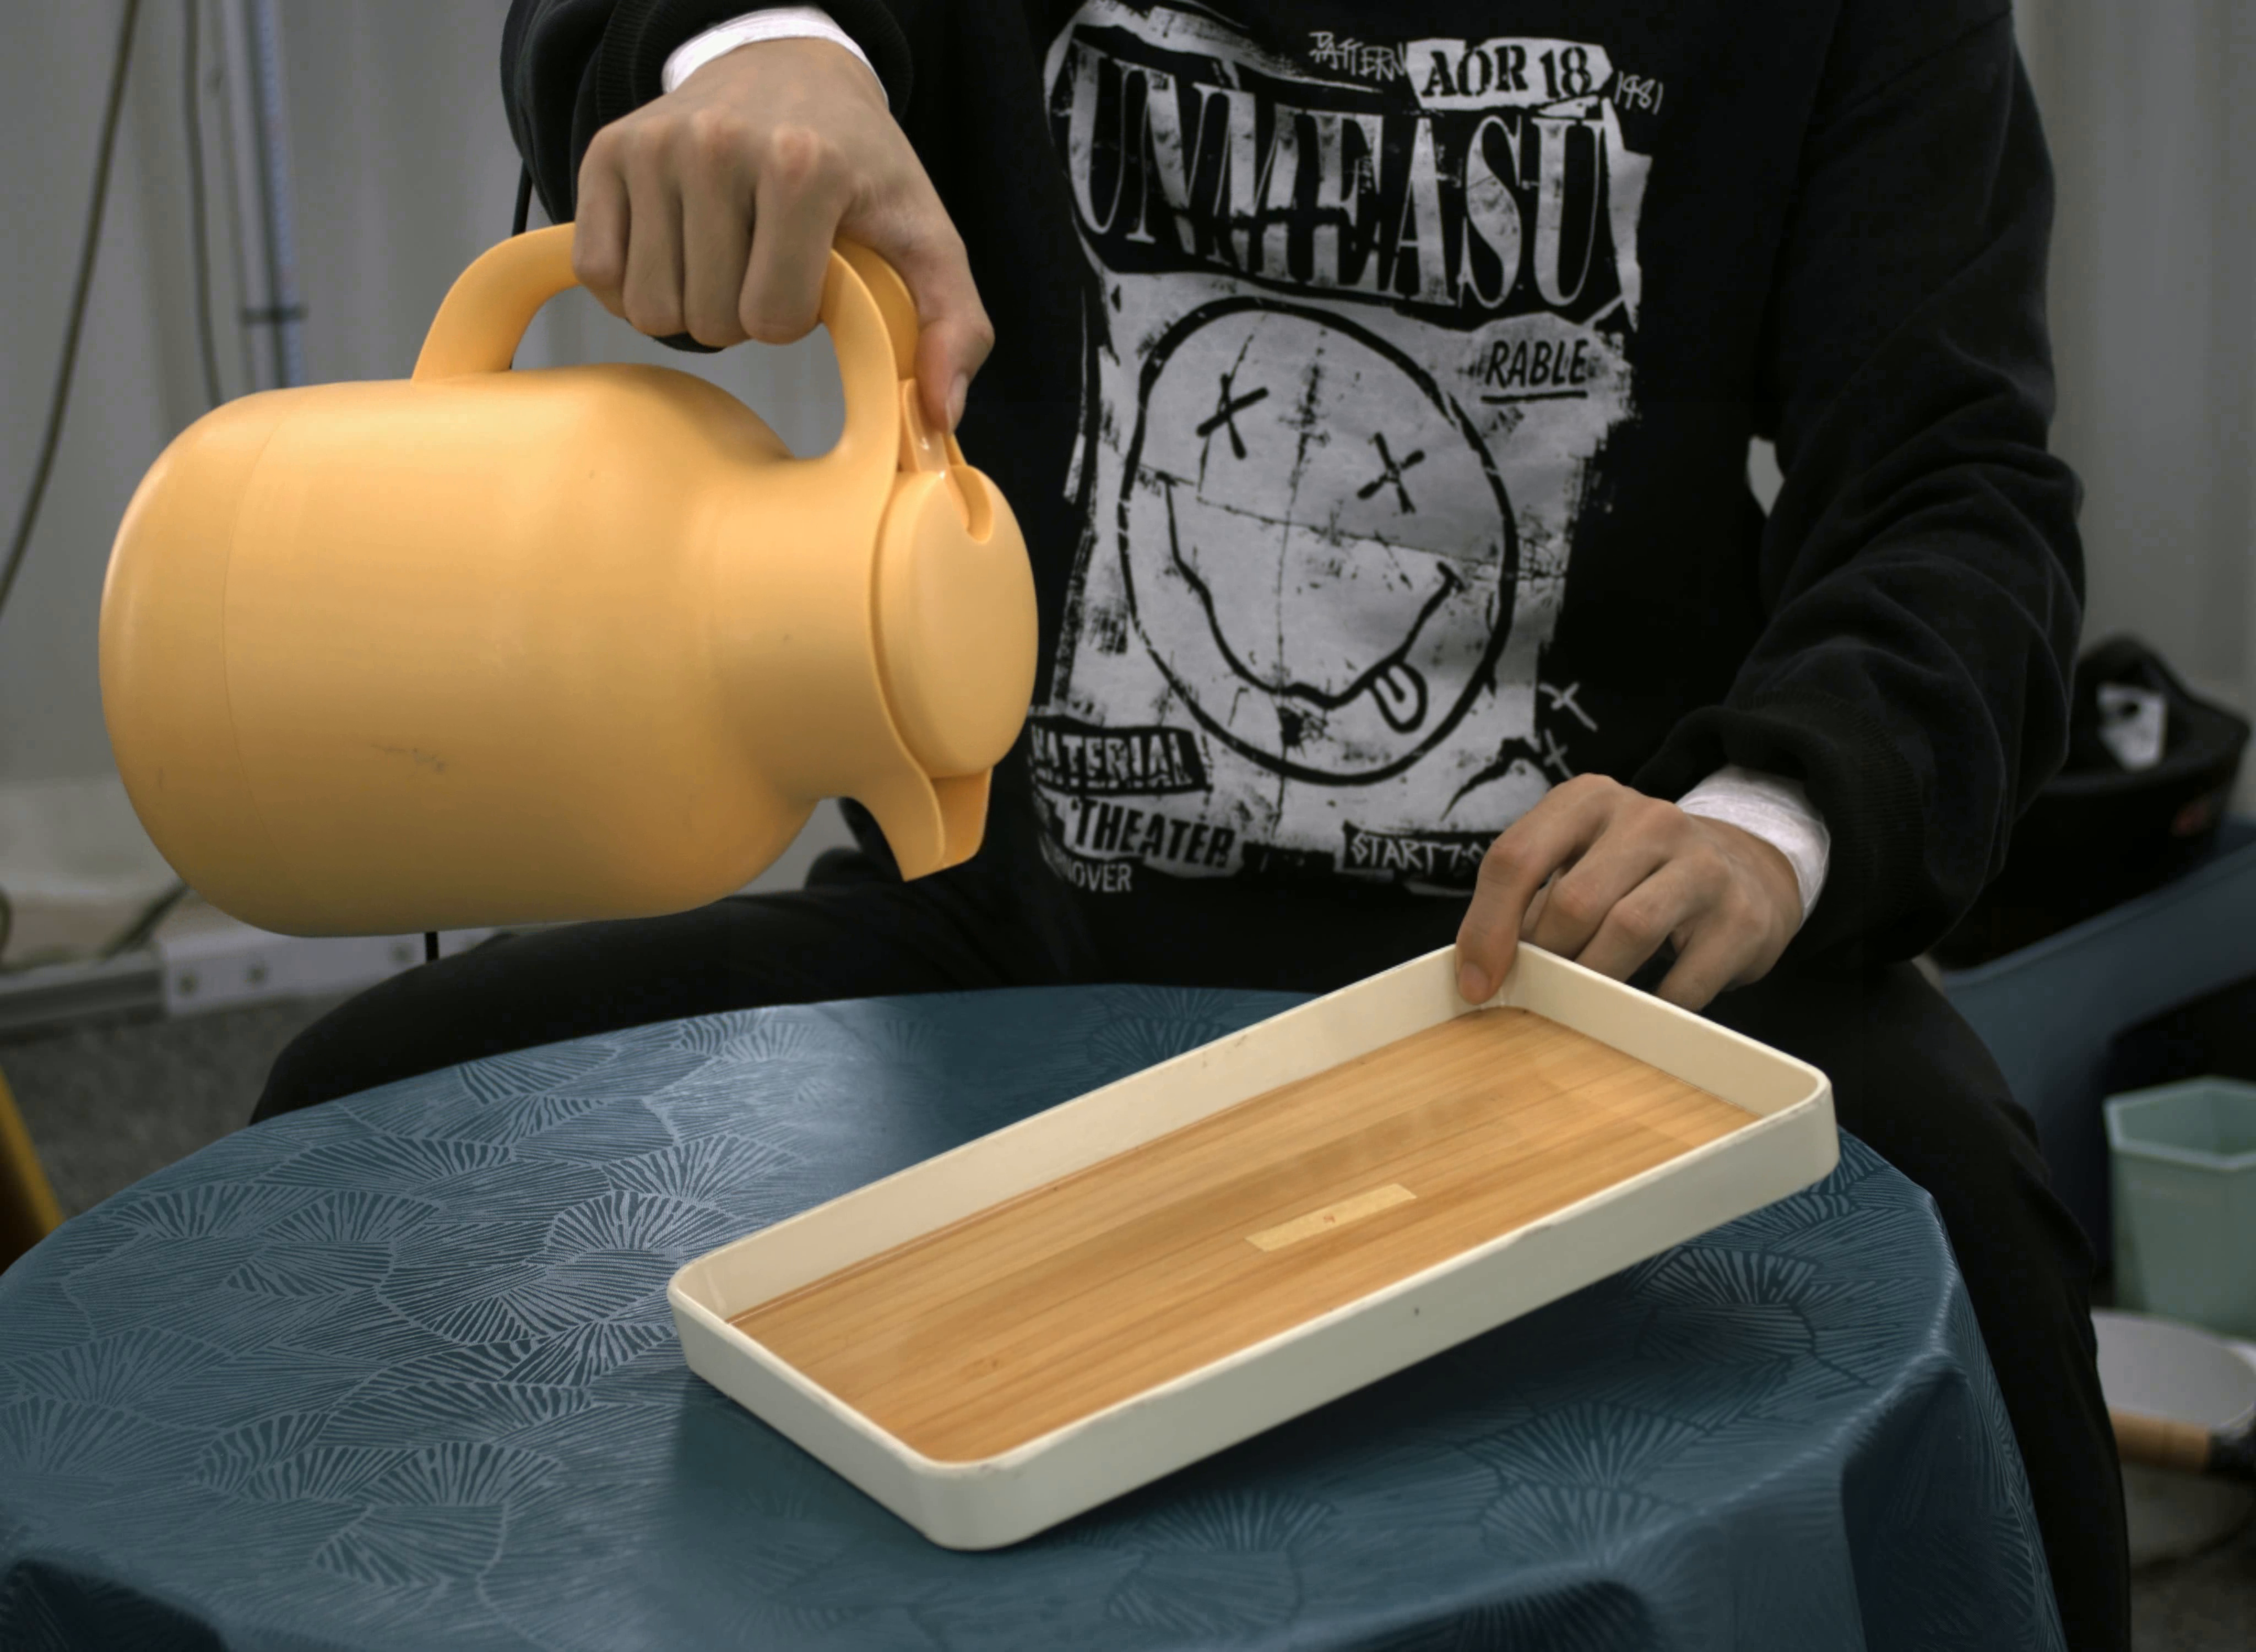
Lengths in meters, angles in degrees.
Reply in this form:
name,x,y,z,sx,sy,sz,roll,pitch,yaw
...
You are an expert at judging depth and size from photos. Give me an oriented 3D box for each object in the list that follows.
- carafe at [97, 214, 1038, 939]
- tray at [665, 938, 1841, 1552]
name,x,y,z,sx,sy,sz,roll,pitch,yaw
carafe,-0.157,-0.072,1.581,0.260,0.203,0.163,-3,2,22
tray,0.035,0.113,1.563,0.300,0.027,0.193,-21,22,-24
